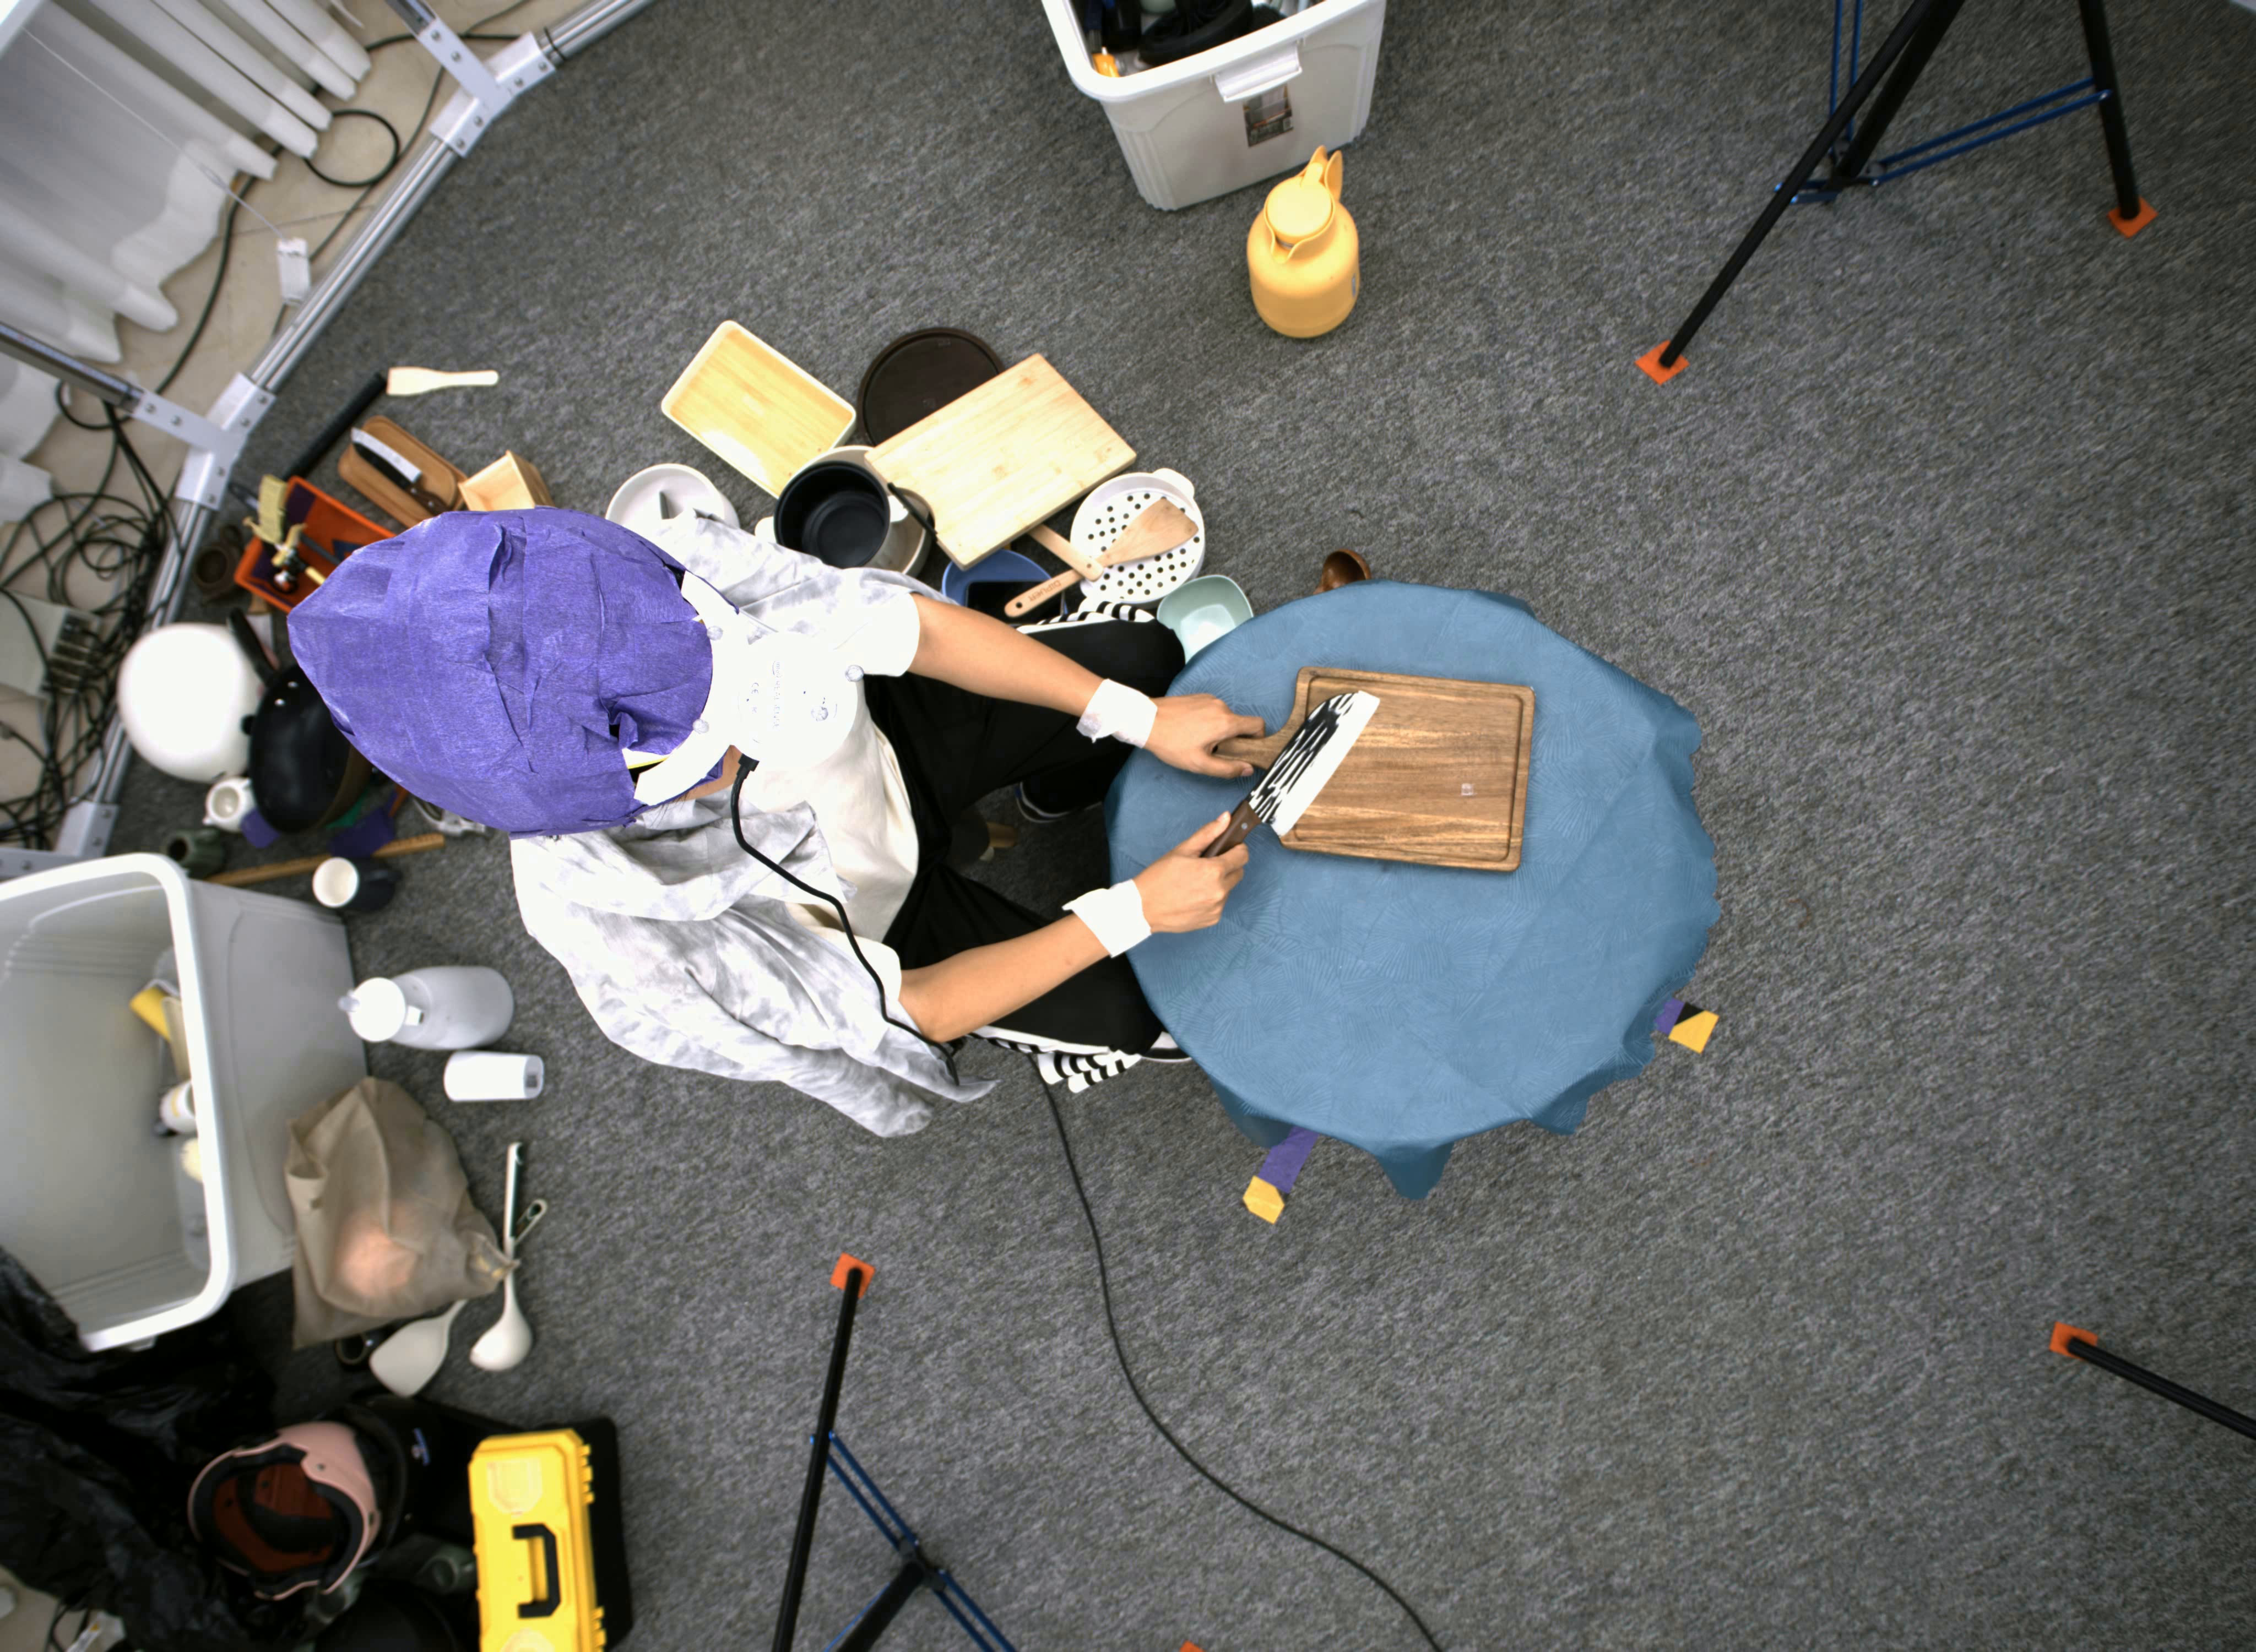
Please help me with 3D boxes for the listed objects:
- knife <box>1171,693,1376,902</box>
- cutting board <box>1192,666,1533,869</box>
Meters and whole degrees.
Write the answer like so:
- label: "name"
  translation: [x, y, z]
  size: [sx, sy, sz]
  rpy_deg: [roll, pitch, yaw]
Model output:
- label: "knife"
  translation: [0.154, -0.029, 1.432]
  size: [0.069, 0.024, 0.299]
  rpy_deg: [39, 89, -30]
- label: "cutting board"
  translation: [0.243, -0.068, 1.452]
  size: [0.353, 0.023, 0.200]
  rpy_deg: [5, 88, 9]
